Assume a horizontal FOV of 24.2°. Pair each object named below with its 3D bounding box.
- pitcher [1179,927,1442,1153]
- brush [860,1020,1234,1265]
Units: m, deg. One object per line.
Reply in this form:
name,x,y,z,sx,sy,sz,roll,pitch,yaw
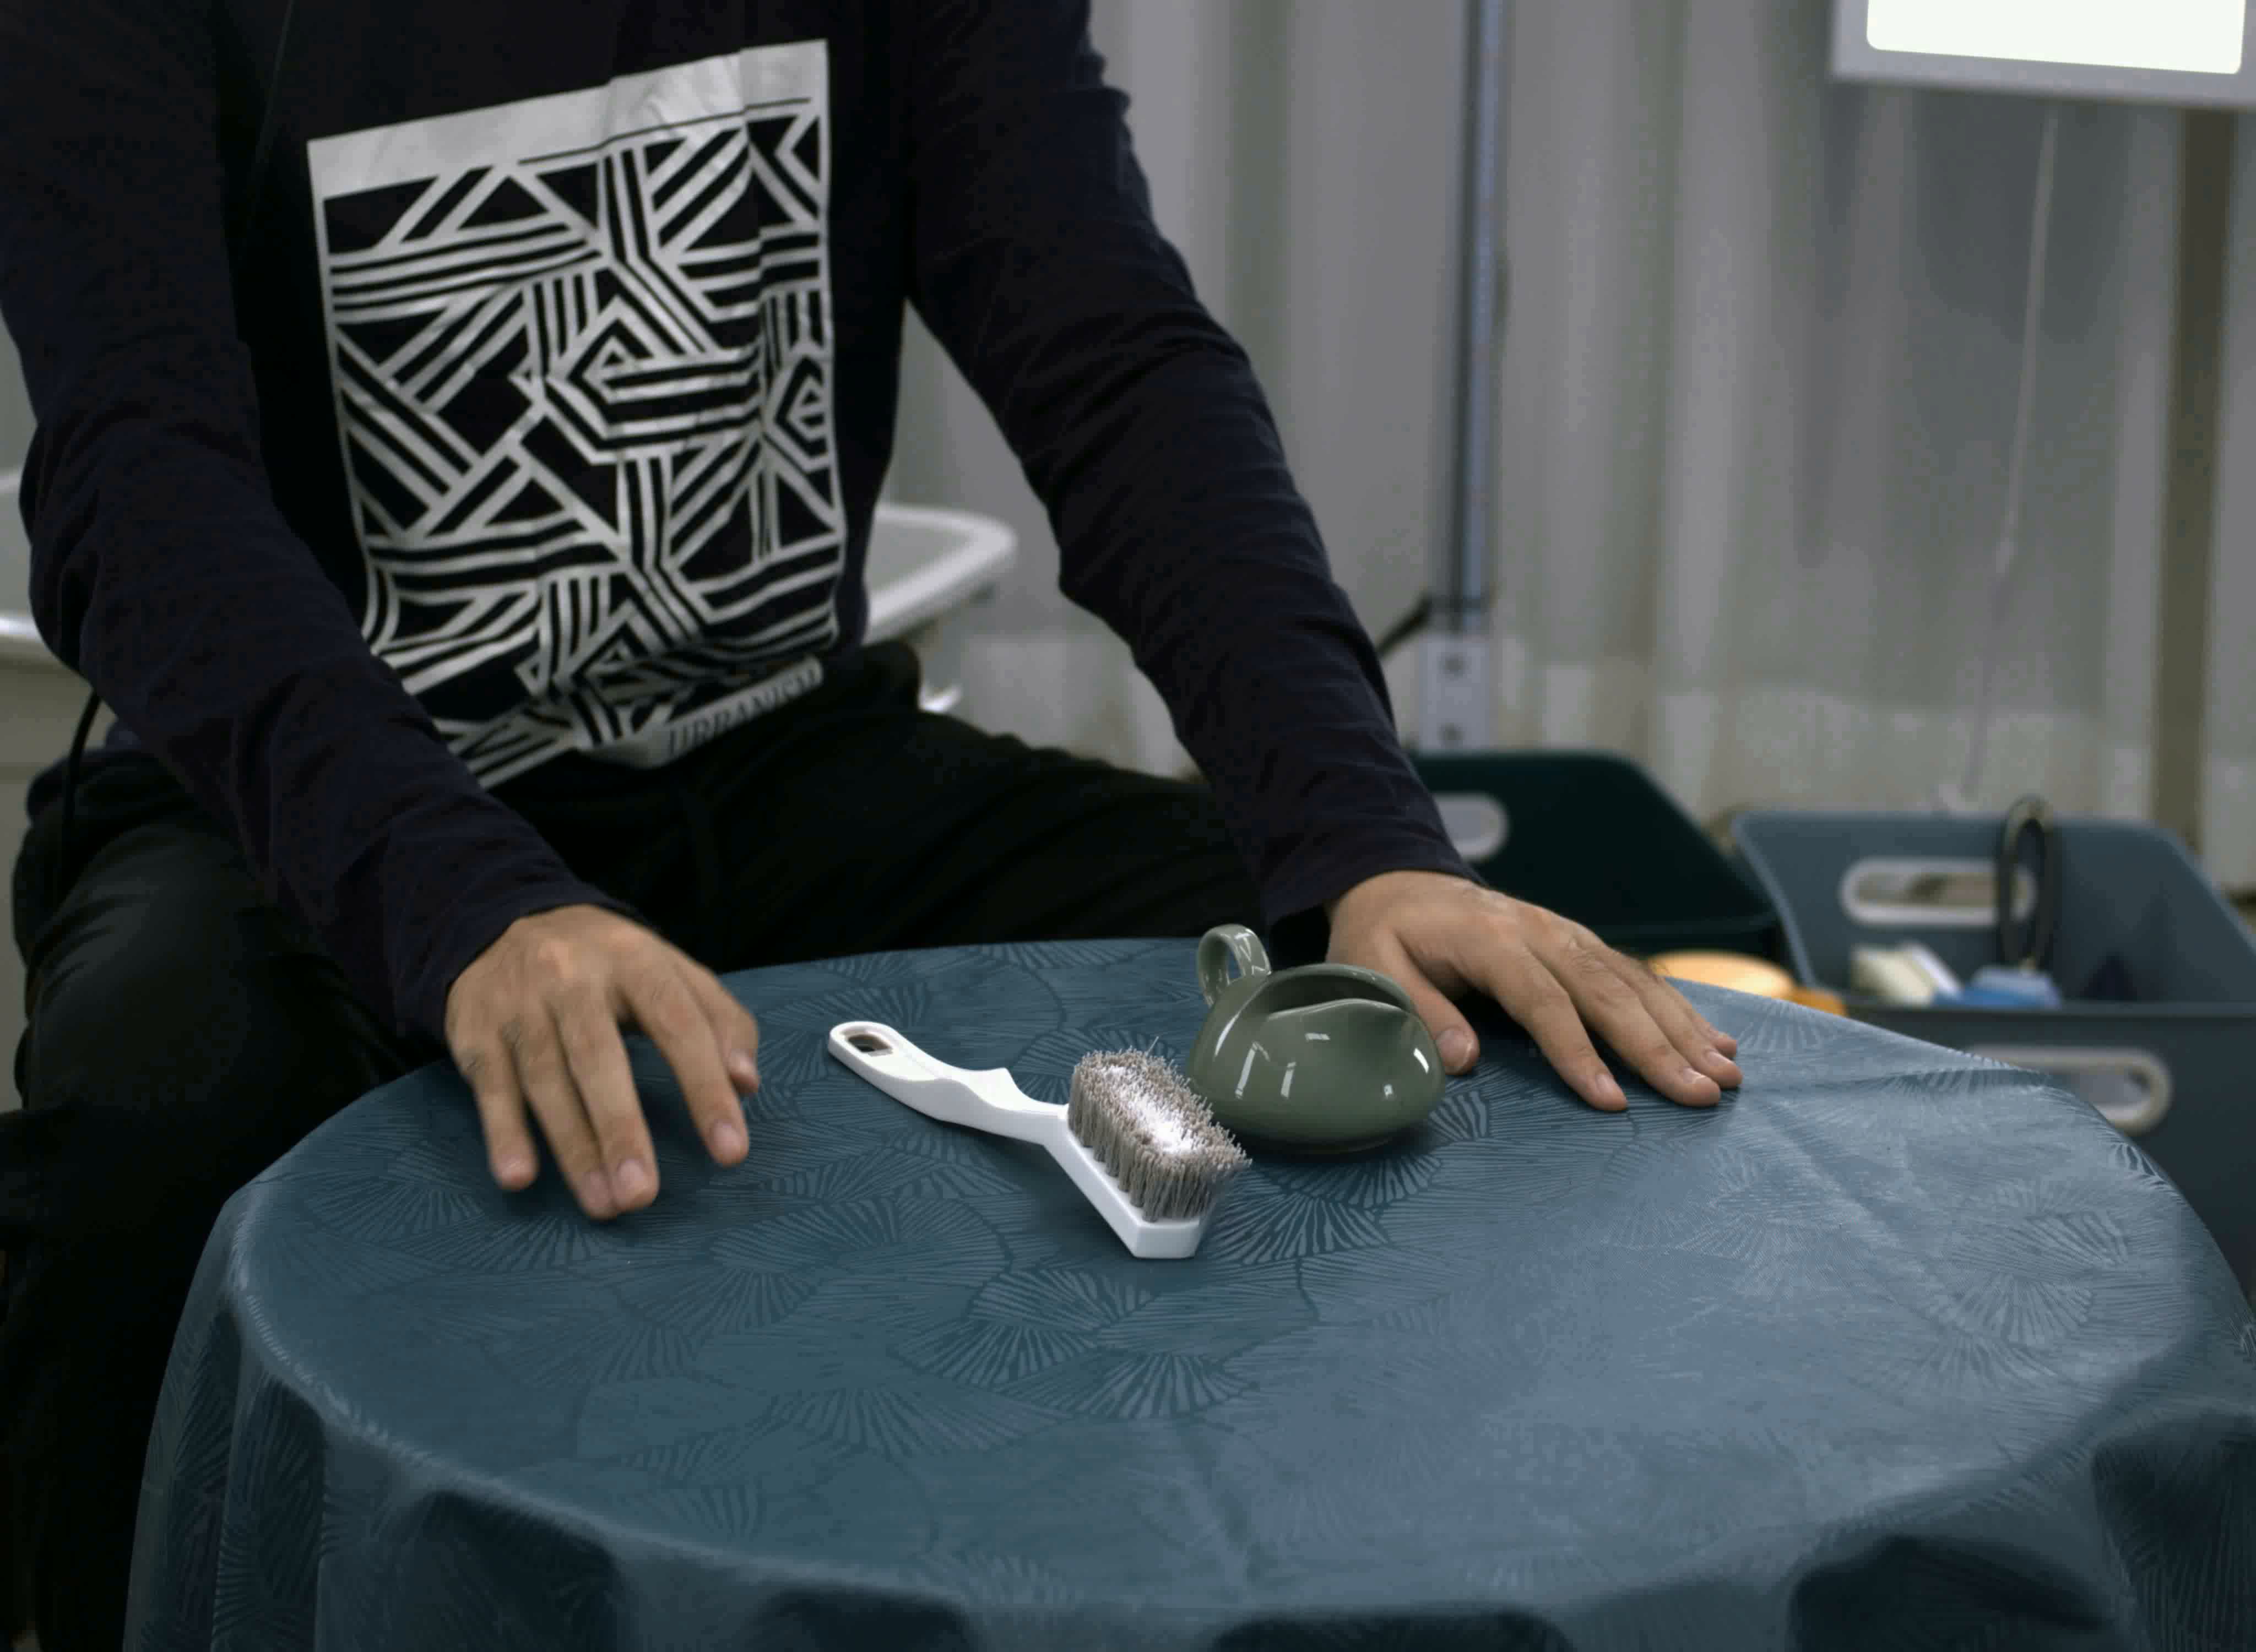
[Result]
pitcher,0.054,0.069,1.682,0.084,0.056,0.111,-9,17,-35
brush,-0.032,0.080,1.656,0.034,0.051,0.240,-12,19,-23
